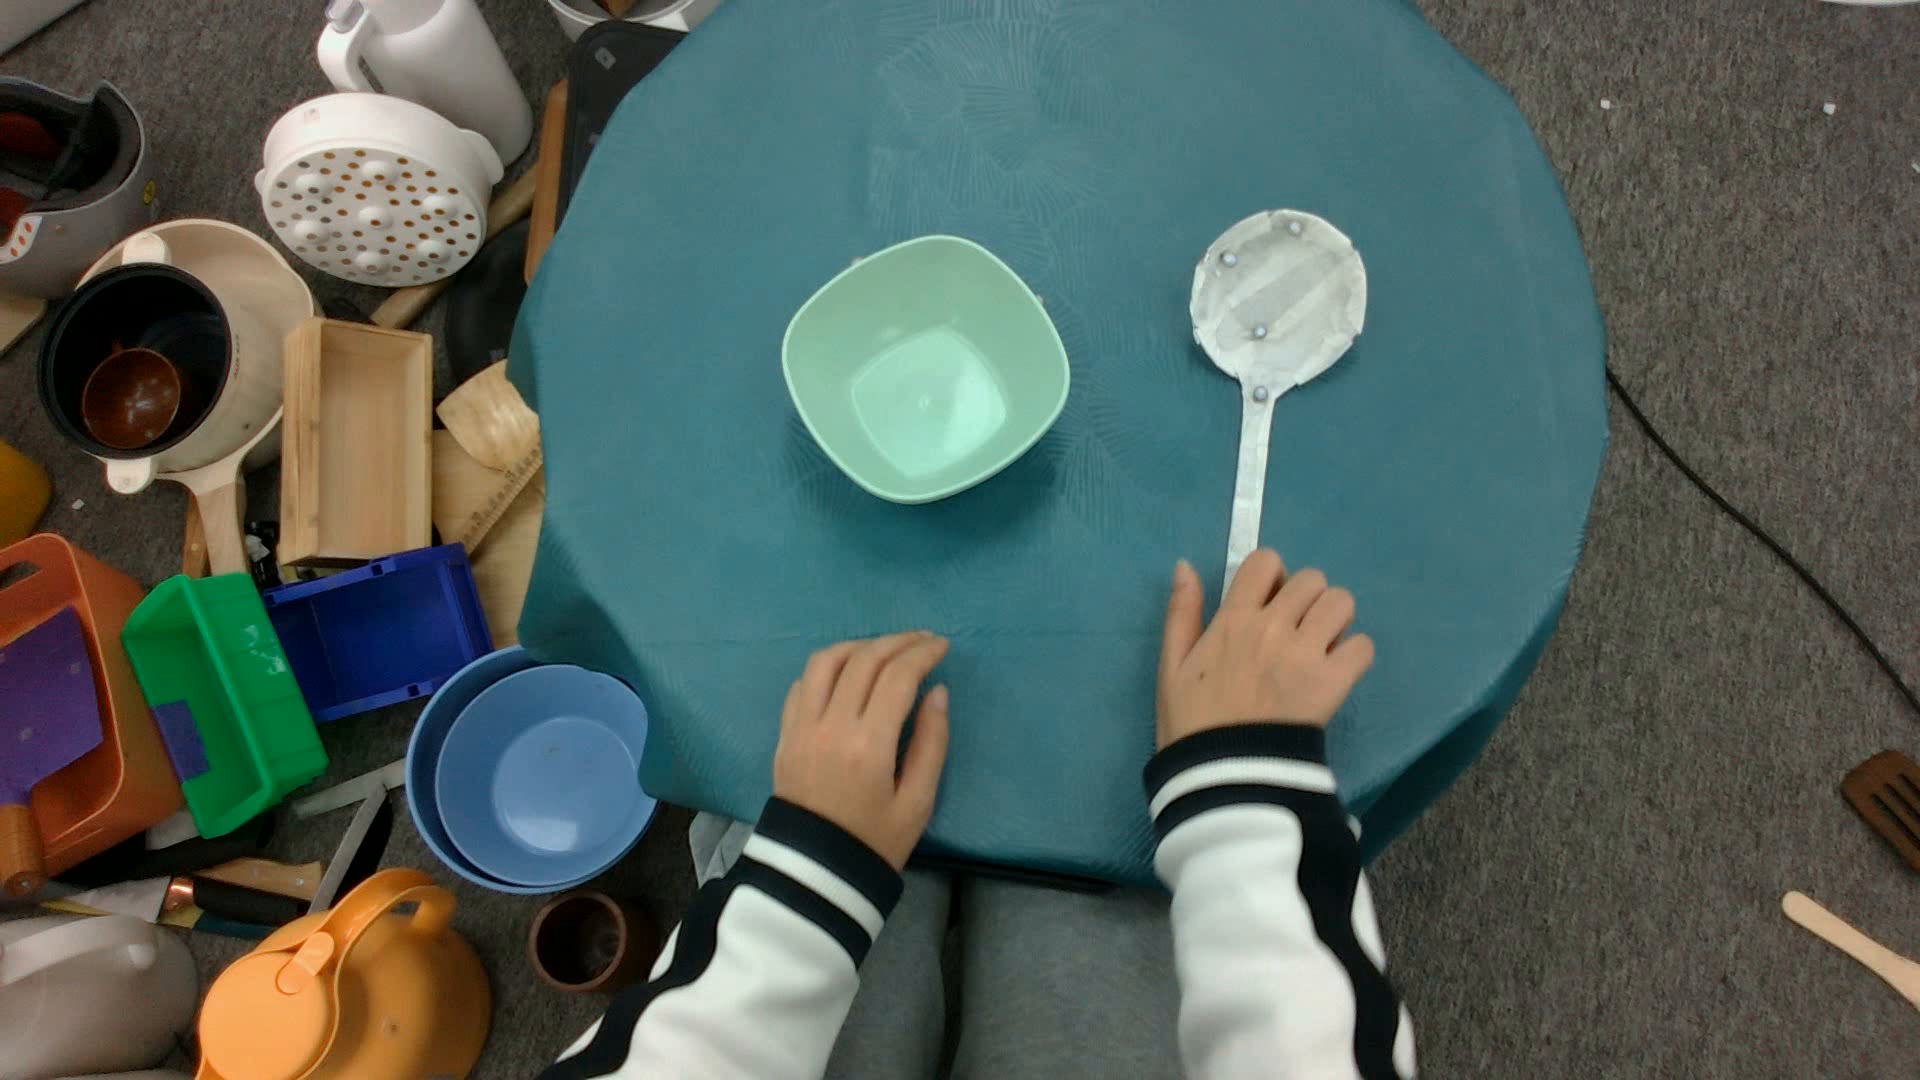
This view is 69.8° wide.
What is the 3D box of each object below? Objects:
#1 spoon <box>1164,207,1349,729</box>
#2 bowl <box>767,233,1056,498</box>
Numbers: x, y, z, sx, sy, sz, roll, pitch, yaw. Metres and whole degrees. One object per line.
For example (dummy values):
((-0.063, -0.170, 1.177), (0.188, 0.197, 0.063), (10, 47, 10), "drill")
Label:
((0.140, -0.041, 0.721), (0.100, 0.059, 0.278), (11, 72, 6), "spoon")
((-0.025, -0.085, 0.738), (0.151, 0.058, 0.152), (0, 71, 0), "bowl")
